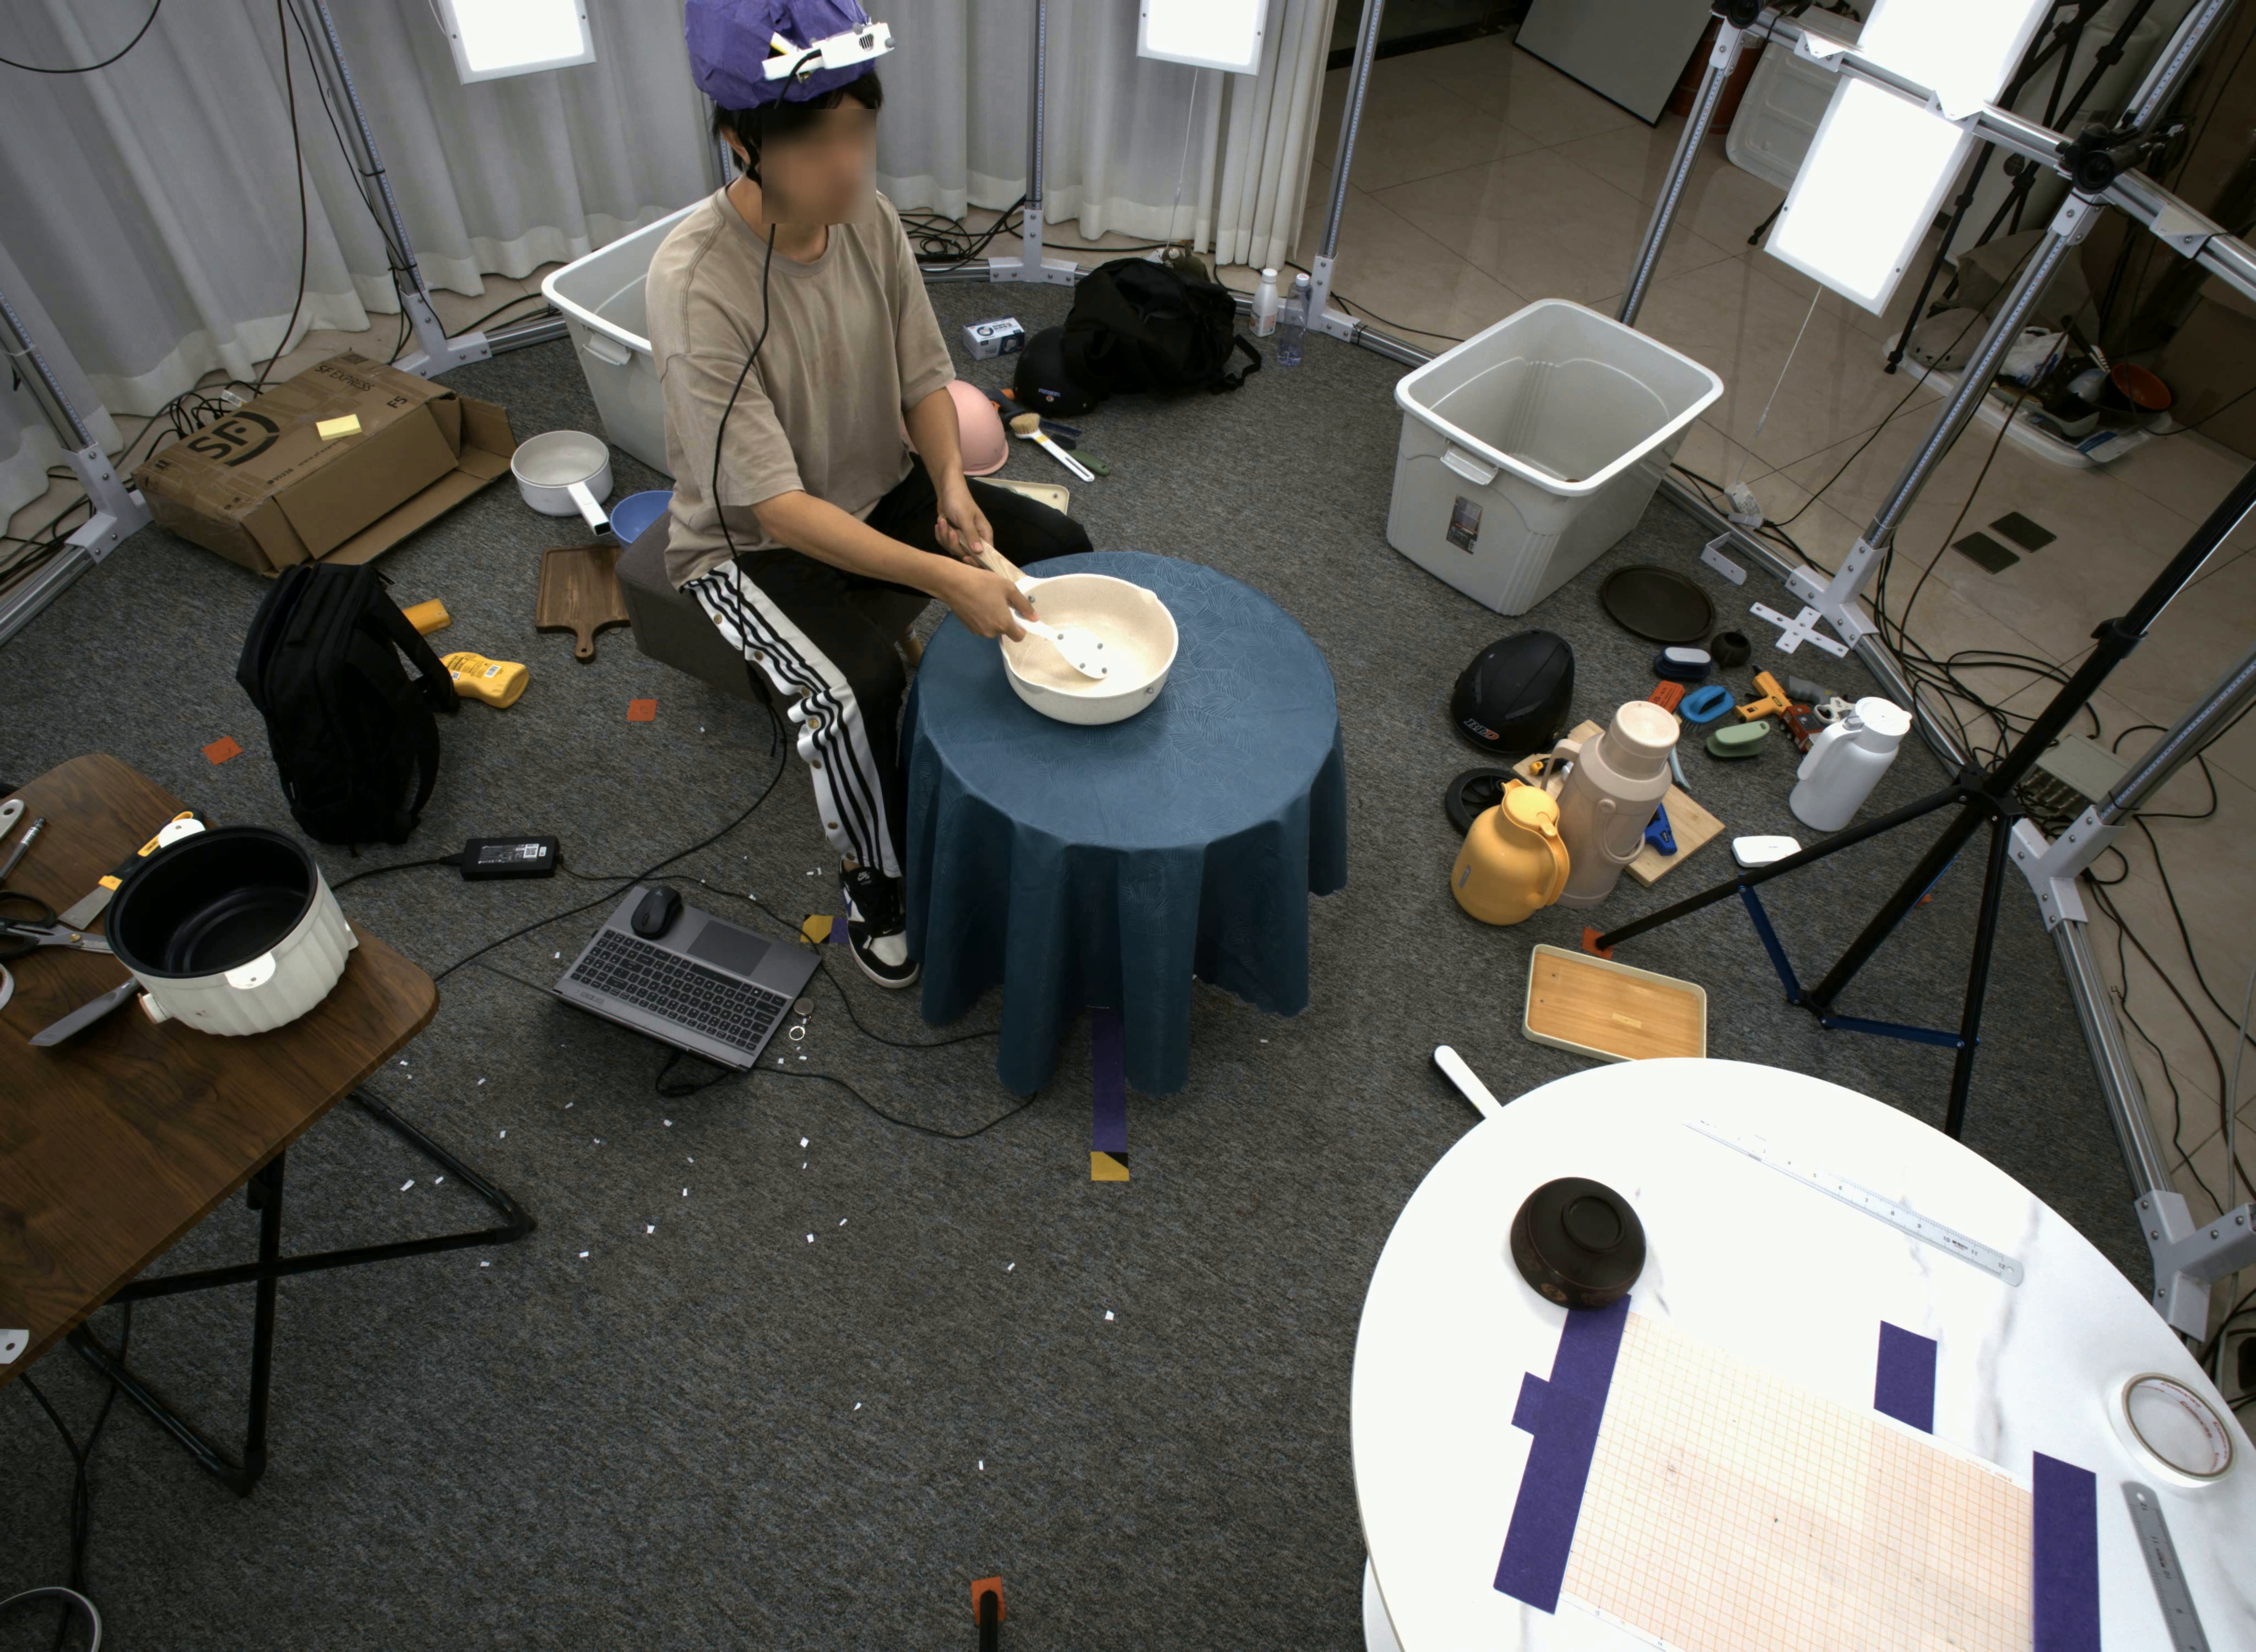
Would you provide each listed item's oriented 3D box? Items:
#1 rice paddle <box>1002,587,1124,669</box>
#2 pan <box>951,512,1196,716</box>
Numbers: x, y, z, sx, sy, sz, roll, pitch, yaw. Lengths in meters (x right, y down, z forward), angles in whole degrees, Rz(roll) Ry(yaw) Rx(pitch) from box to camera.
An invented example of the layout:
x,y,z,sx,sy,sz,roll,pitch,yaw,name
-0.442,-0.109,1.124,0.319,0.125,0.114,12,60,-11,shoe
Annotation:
x,y,z,sx,sy,sz,roll,pitch,yaw,name
-0.083,-0.278,1.800,0.202,0.029,0.070,23,60,-32,rice paddle
-0.098,-0.312,1.855,0.441,0.099,0.266,37,57,26,pan
